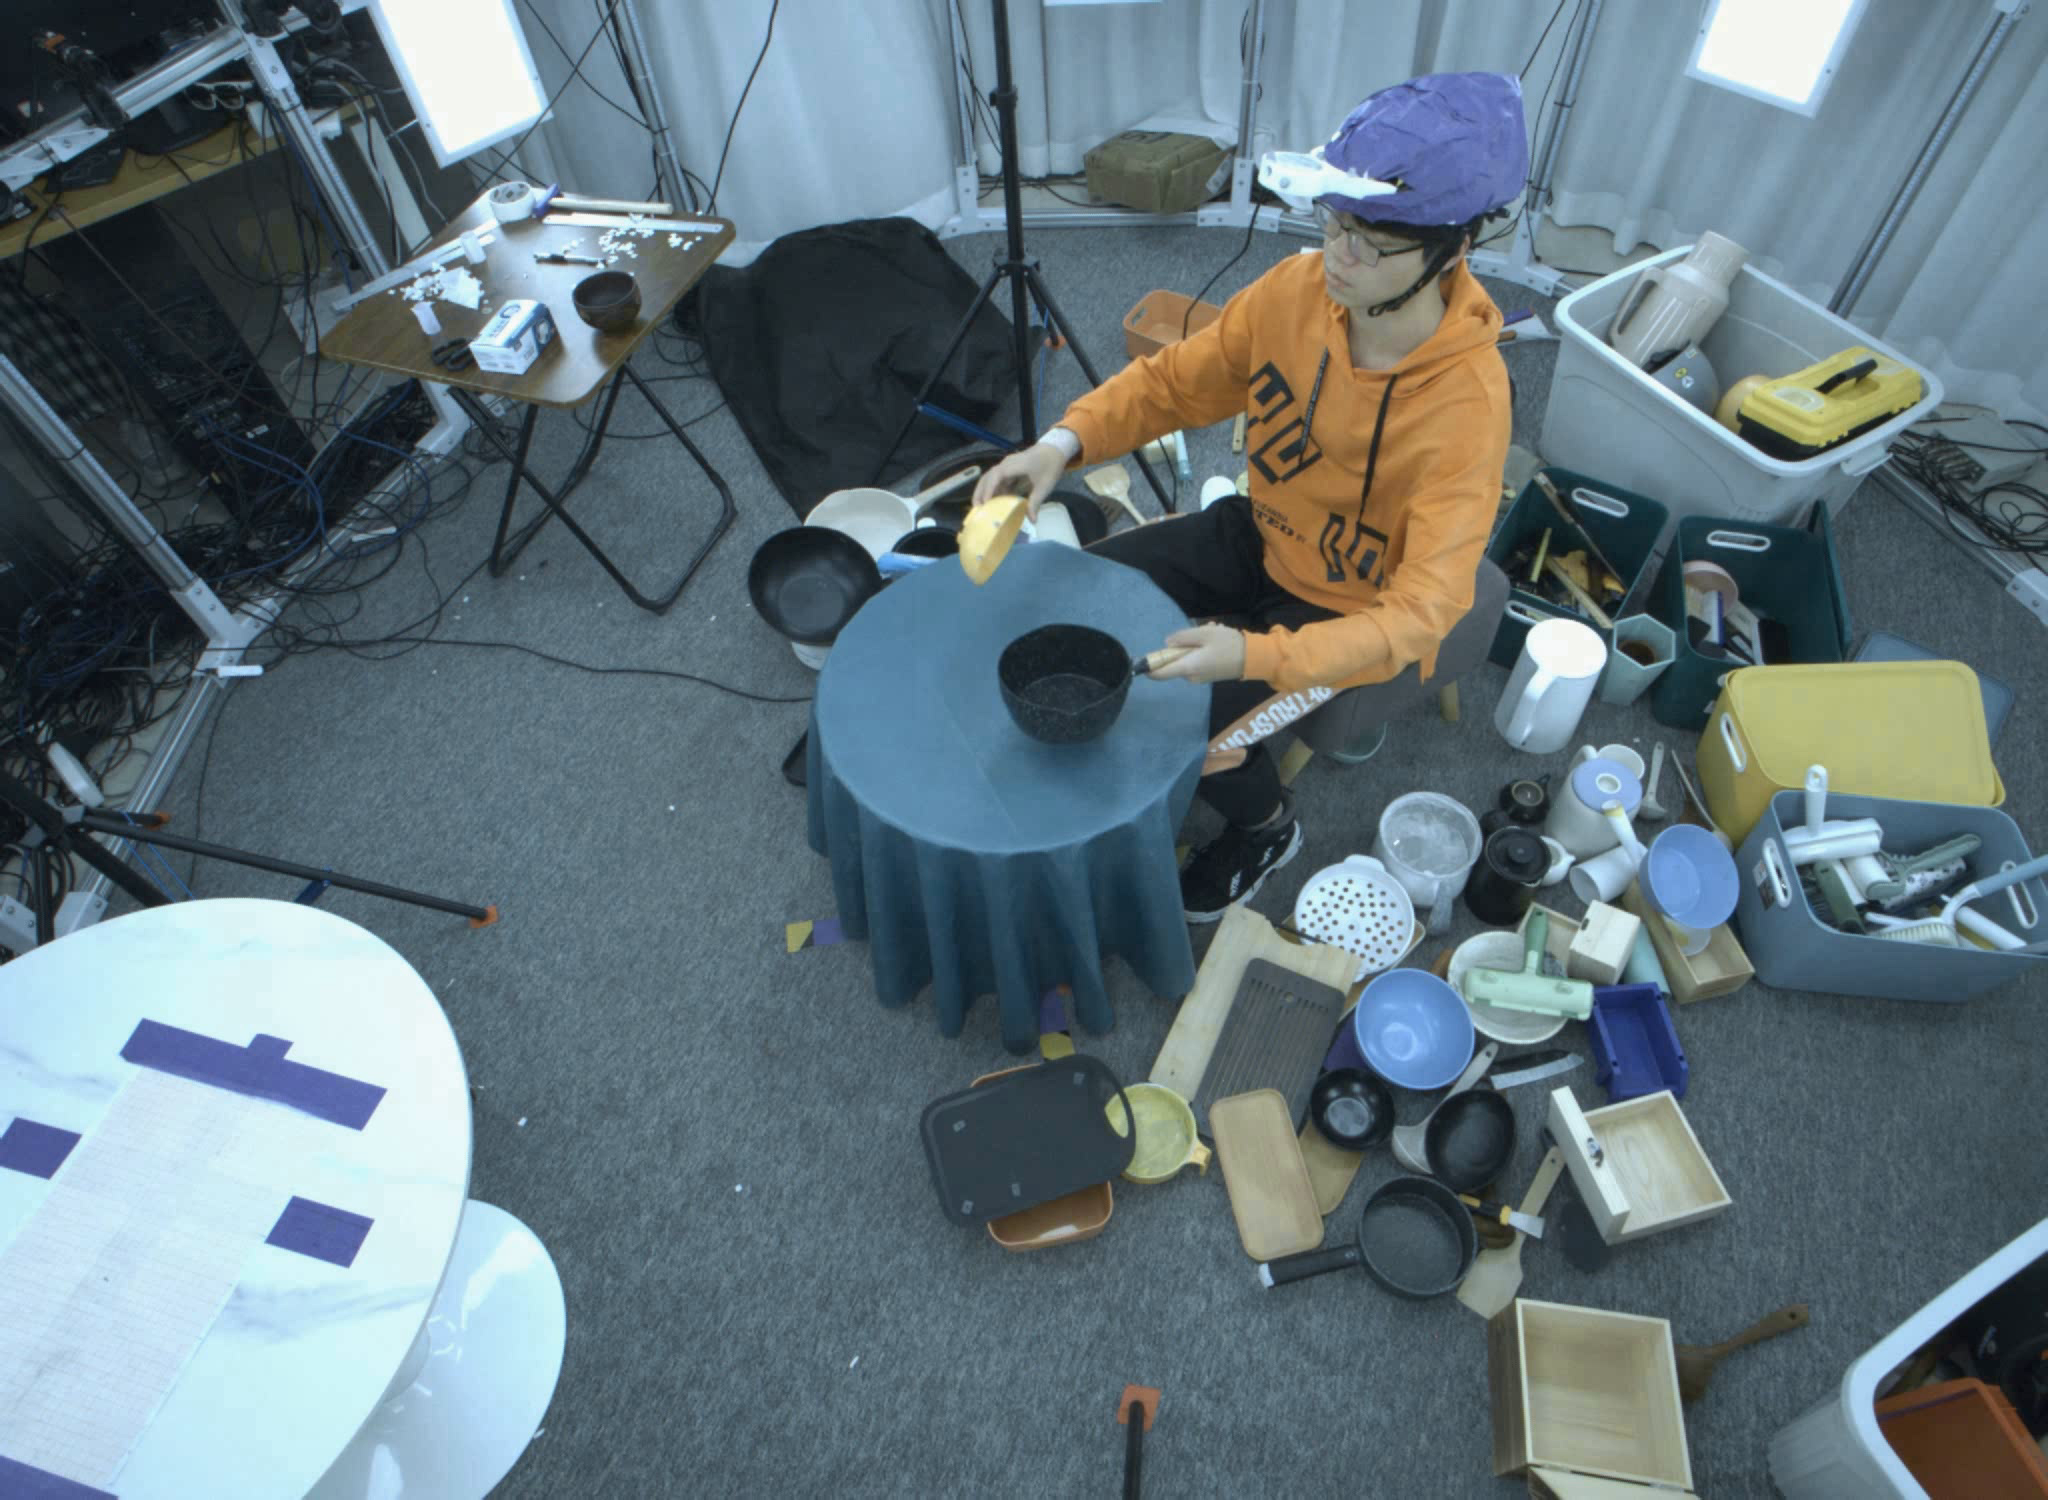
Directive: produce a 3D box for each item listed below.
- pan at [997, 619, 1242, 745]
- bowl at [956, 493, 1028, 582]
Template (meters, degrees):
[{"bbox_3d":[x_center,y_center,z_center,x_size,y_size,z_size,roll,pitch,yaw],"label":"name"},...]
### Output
[{"bbox_3d":[0.135,-0.107,1.727,0.344,0.109,0.204,-9,44,-5],"label":"pan"},{"bbox_3d":[-0.059,-0.322,1.792,0.060,0.145,0.145,32,61,6],"label":"bowl"}]
